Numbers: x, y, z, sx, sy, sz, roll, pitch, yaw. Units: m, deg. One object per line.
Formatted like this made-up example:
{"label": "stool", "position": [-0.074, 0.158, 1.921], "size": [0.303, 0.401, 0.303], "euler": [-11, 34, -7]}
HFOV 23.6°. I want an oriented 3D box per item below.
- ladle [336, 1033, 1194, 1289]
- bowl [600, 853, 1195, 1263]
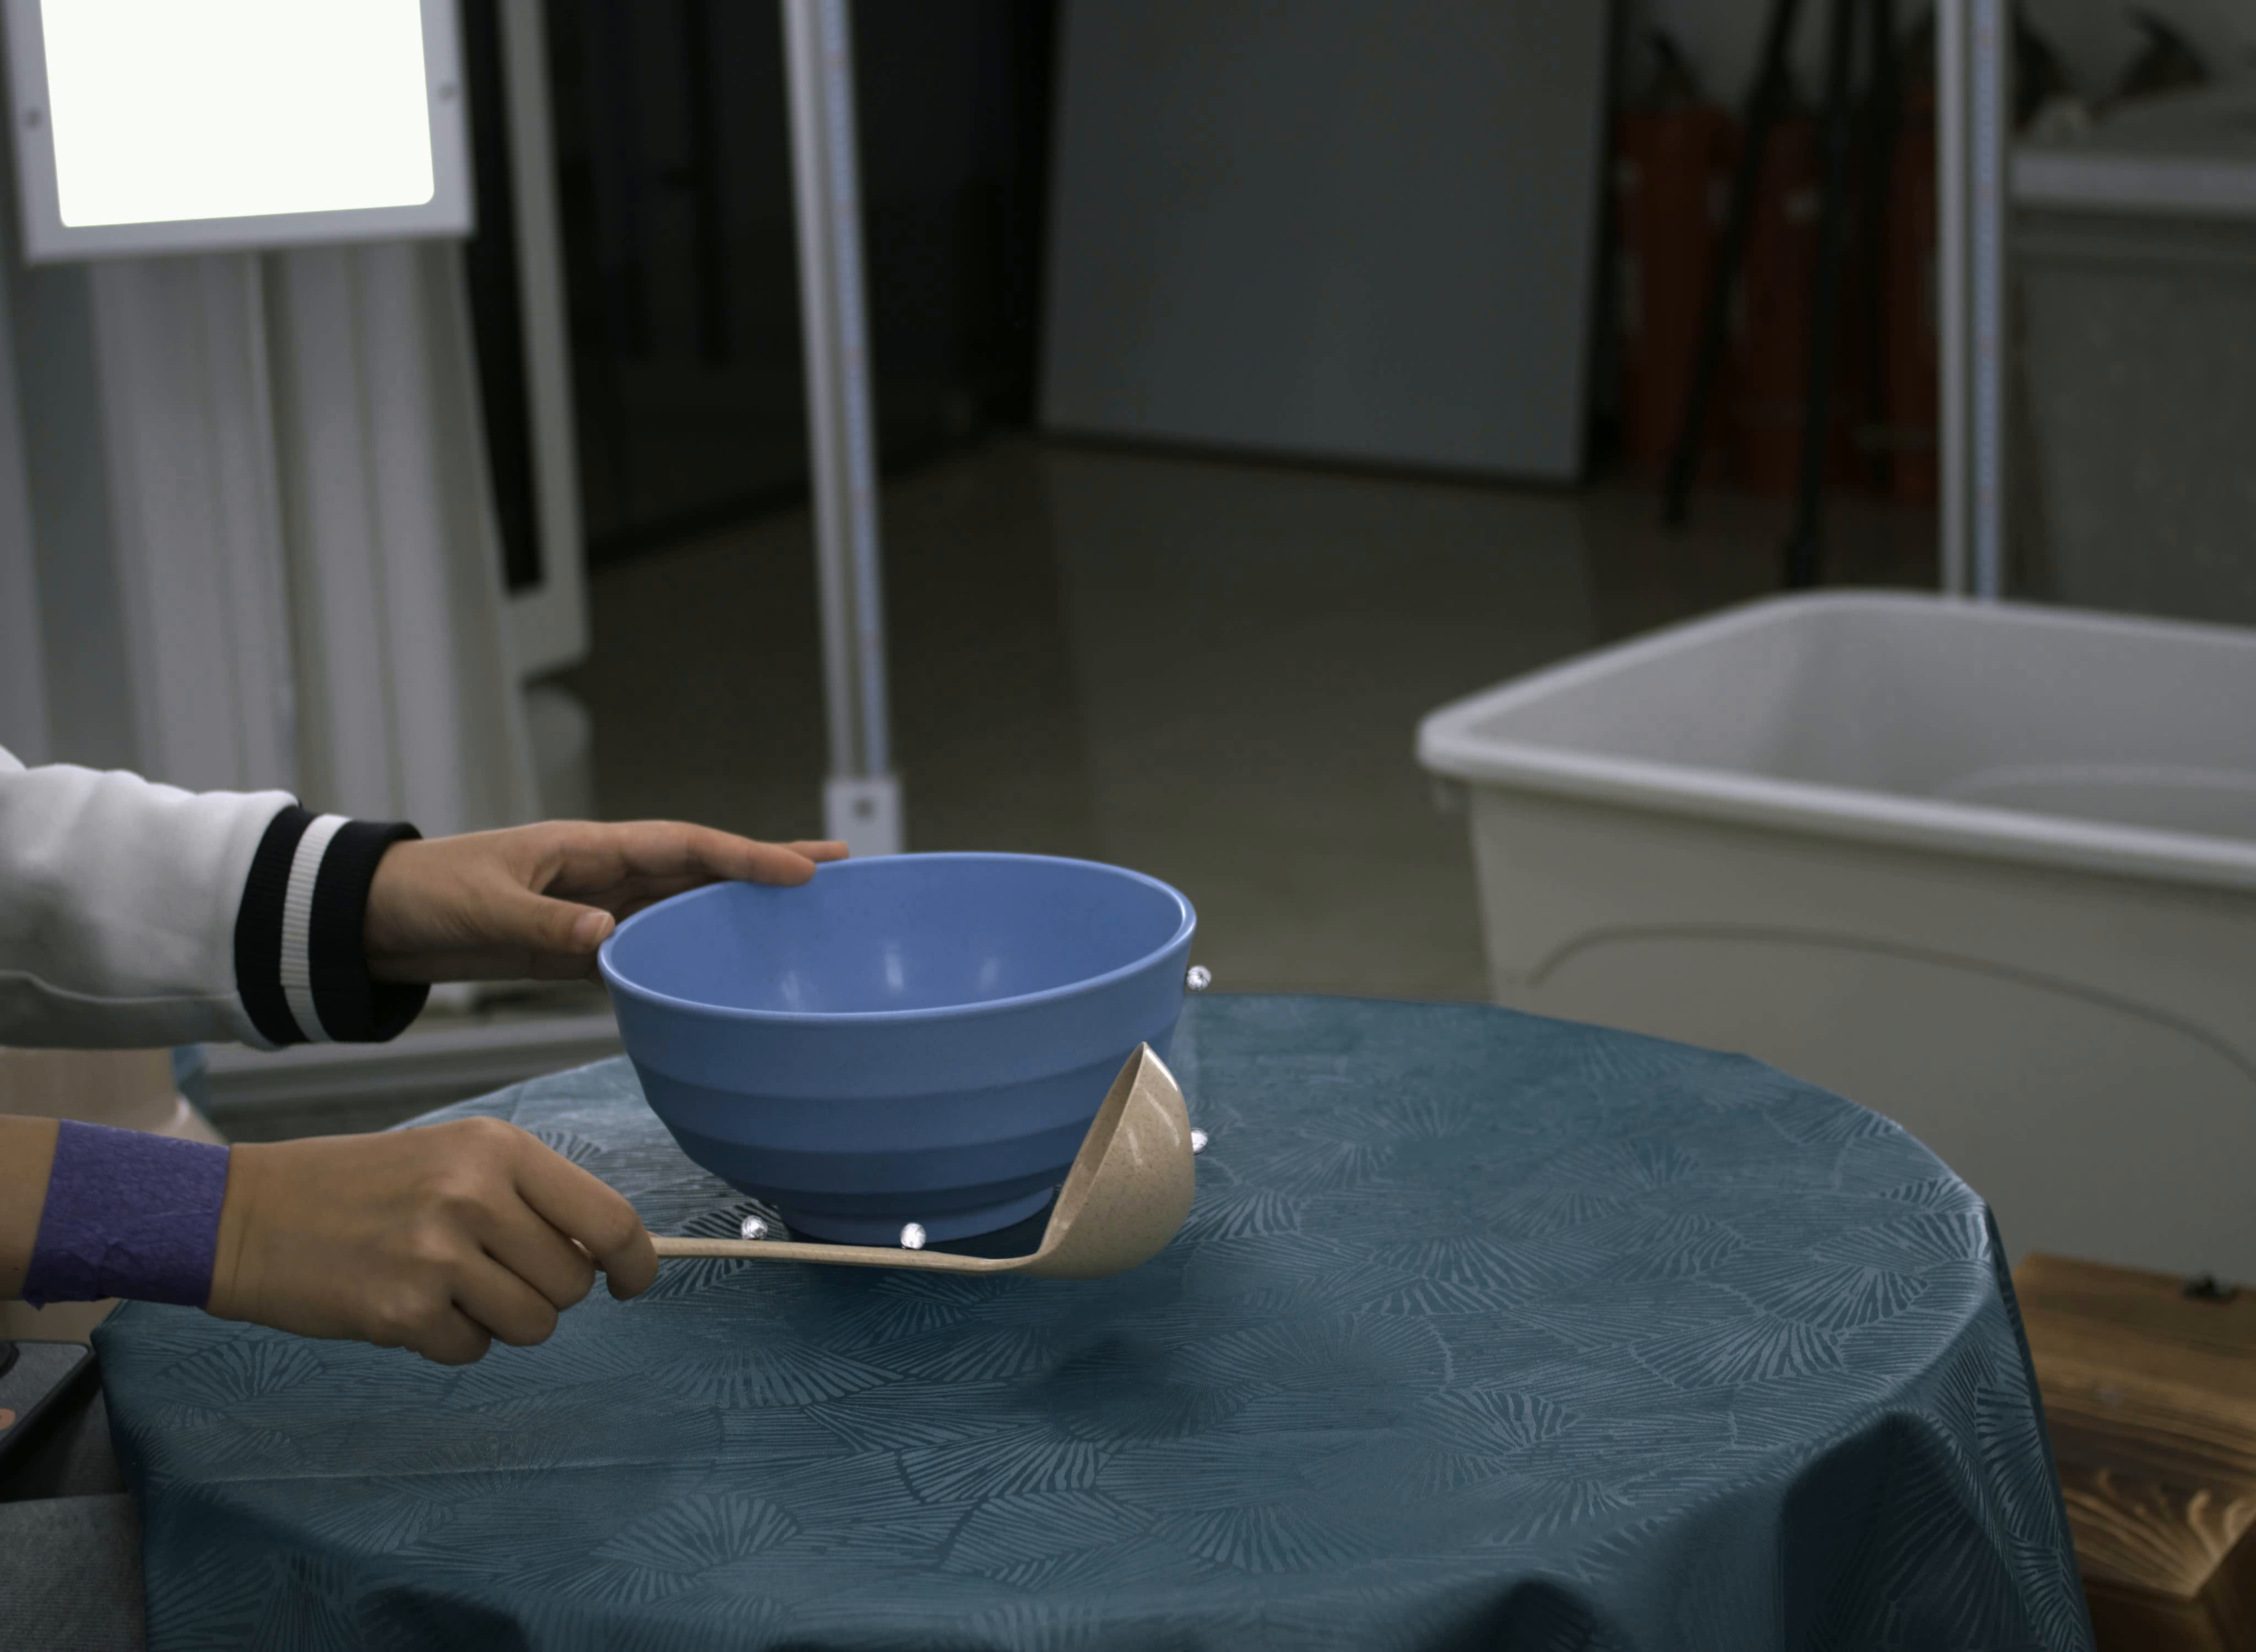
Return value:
{"label": "ladle", "position": [-0.106, 0.098, 1.587], "size": [0.250, 0.074, 0.072], "euler": [0, -10, -10]}
{"label": "bowl", "position": [-0.072, 0.082, 1.765], "size": [0.194, 0.096, 0.197], "euler": [-5, 15, 0]}
